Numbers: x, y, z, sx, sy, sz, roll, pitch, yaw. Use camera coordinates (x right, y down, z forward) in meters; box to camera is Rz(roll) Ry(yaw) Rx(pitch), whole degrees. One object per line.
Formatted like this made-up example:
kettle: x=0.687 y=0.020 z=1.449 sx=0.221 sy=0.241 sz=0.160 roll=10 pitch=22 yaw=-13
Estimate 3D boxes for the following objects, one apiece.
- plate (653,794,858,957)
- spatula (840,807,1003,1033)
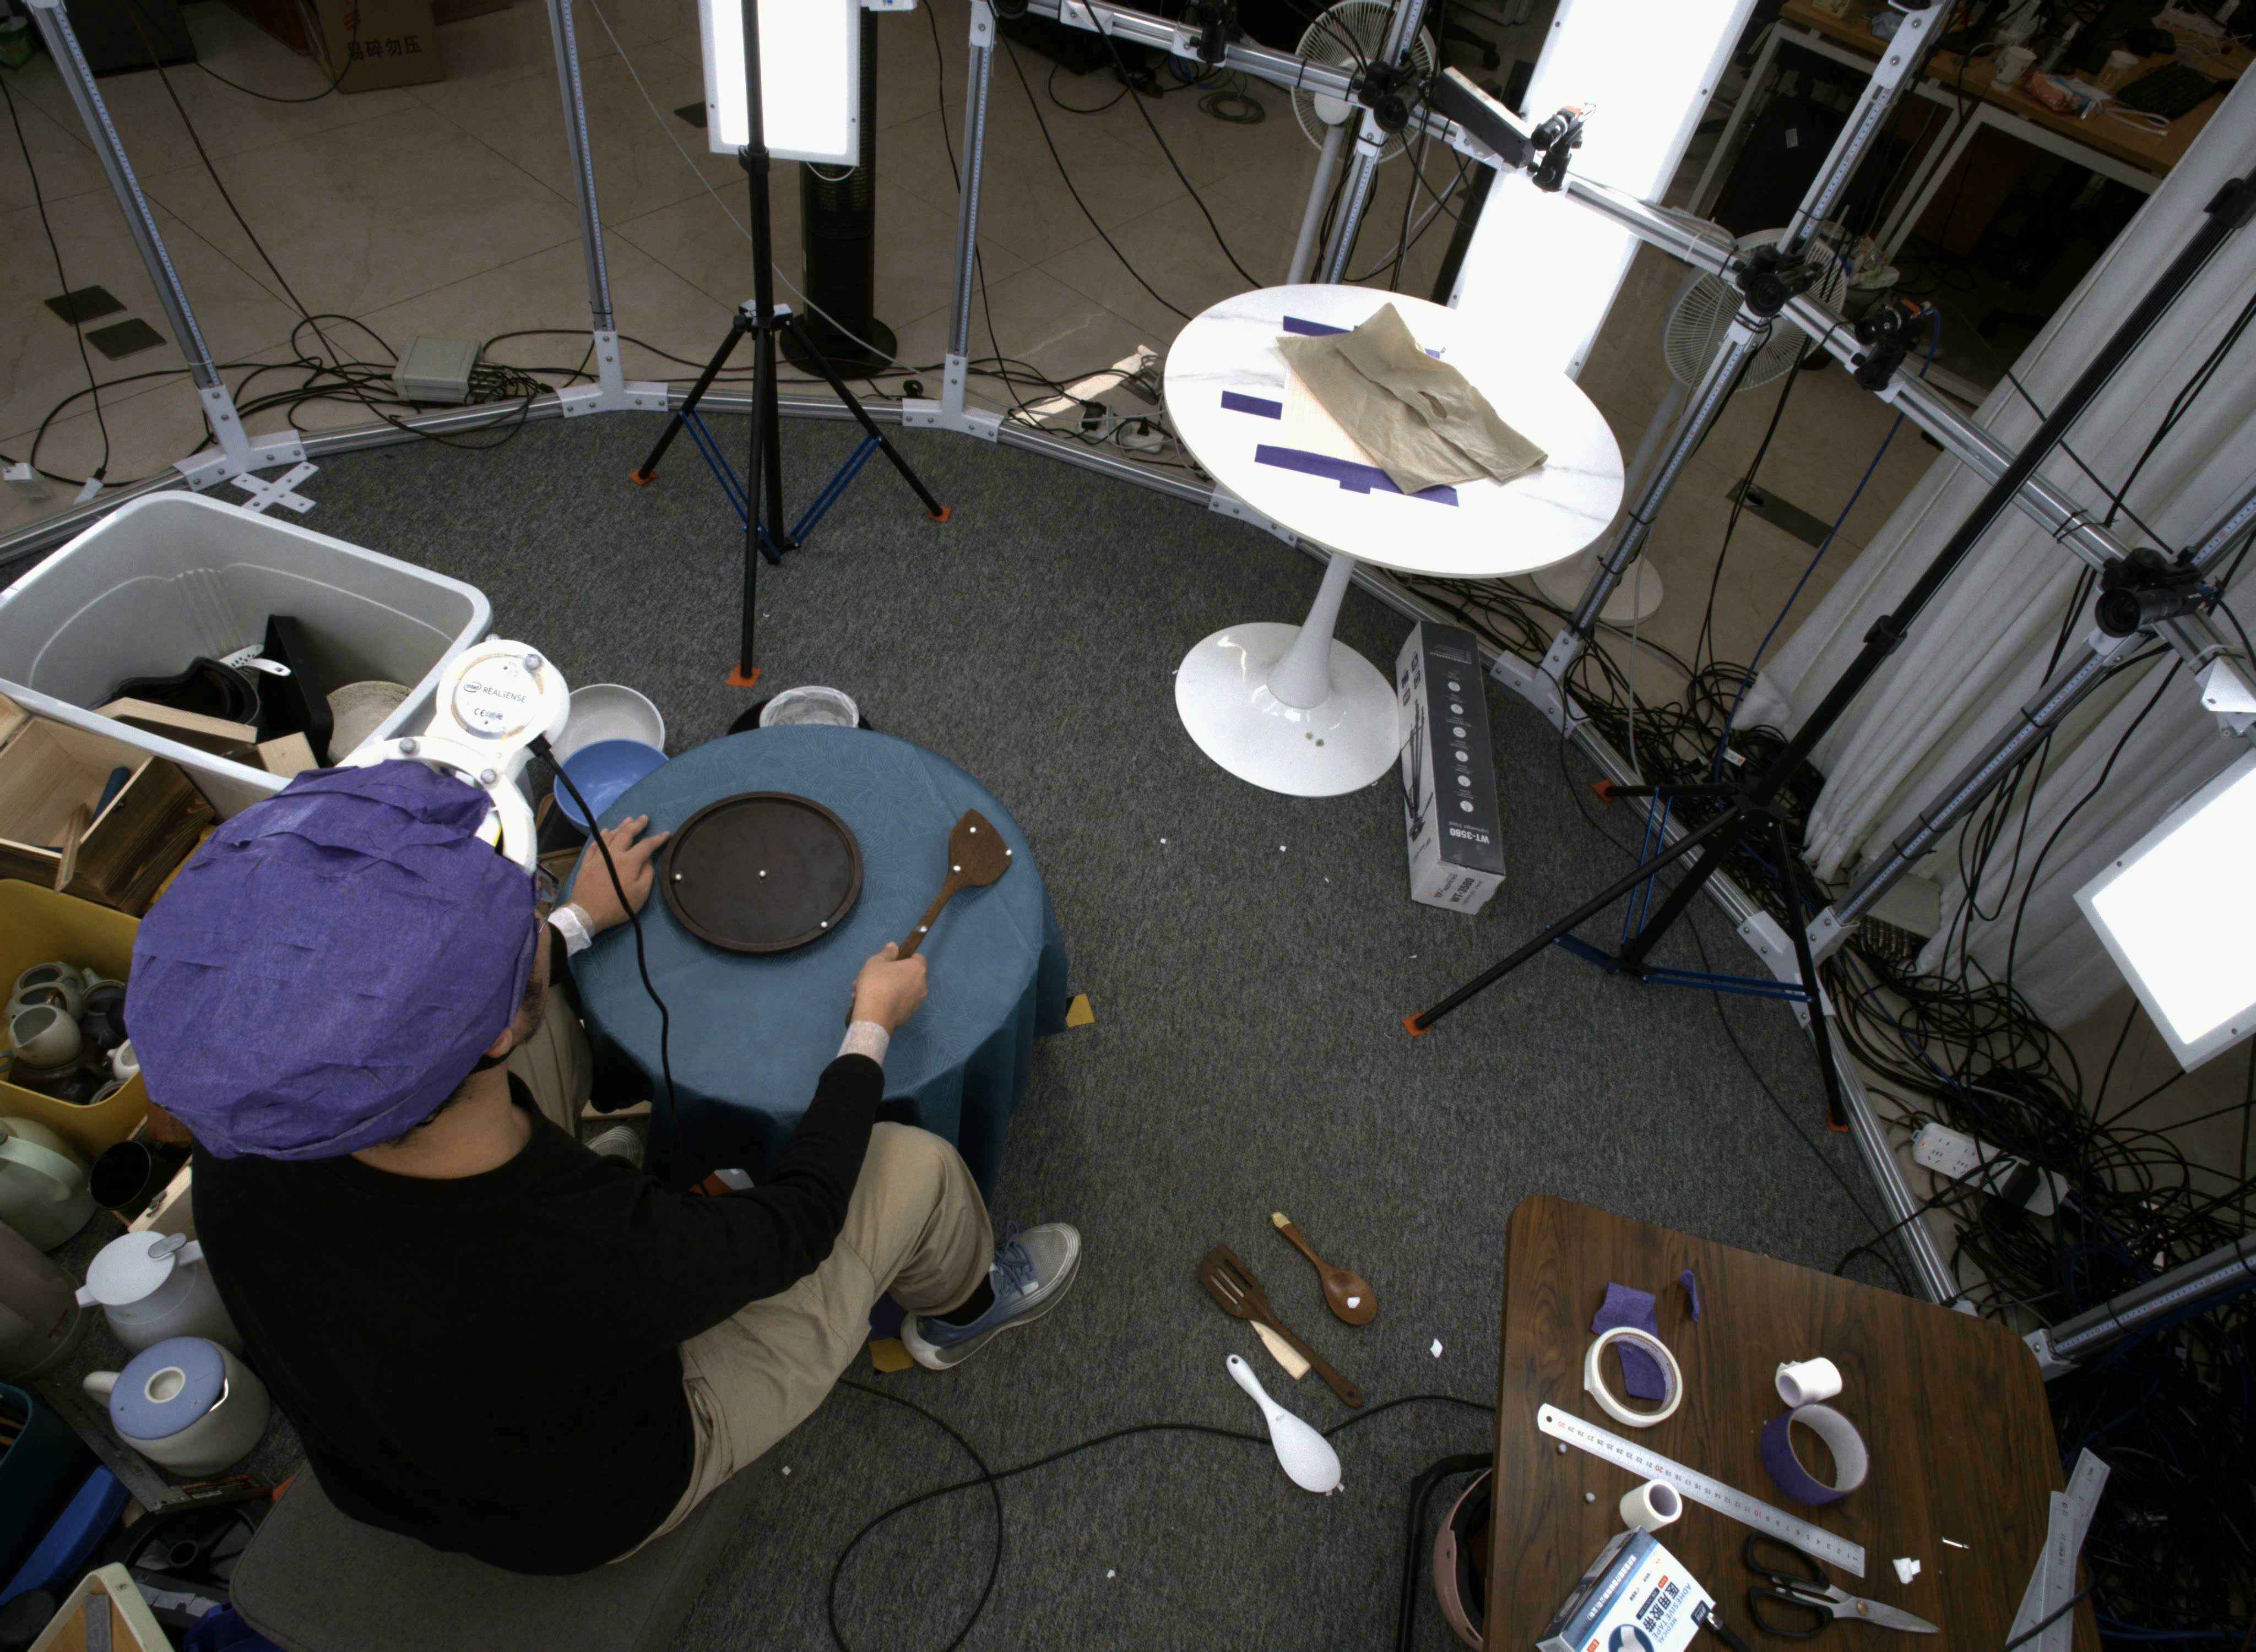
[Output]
plate: x=-0.473 y=0.060 z=1.647 sx=0.254 sy=0.029 sz=0.250 roll=9 pitch=52 yaw=-10
spatula: x=-0.256 y=0.114 z=1.606 sx=0.099 sy=0.015 sz=0.382 roll=55 pitch=37 yaw=-22
